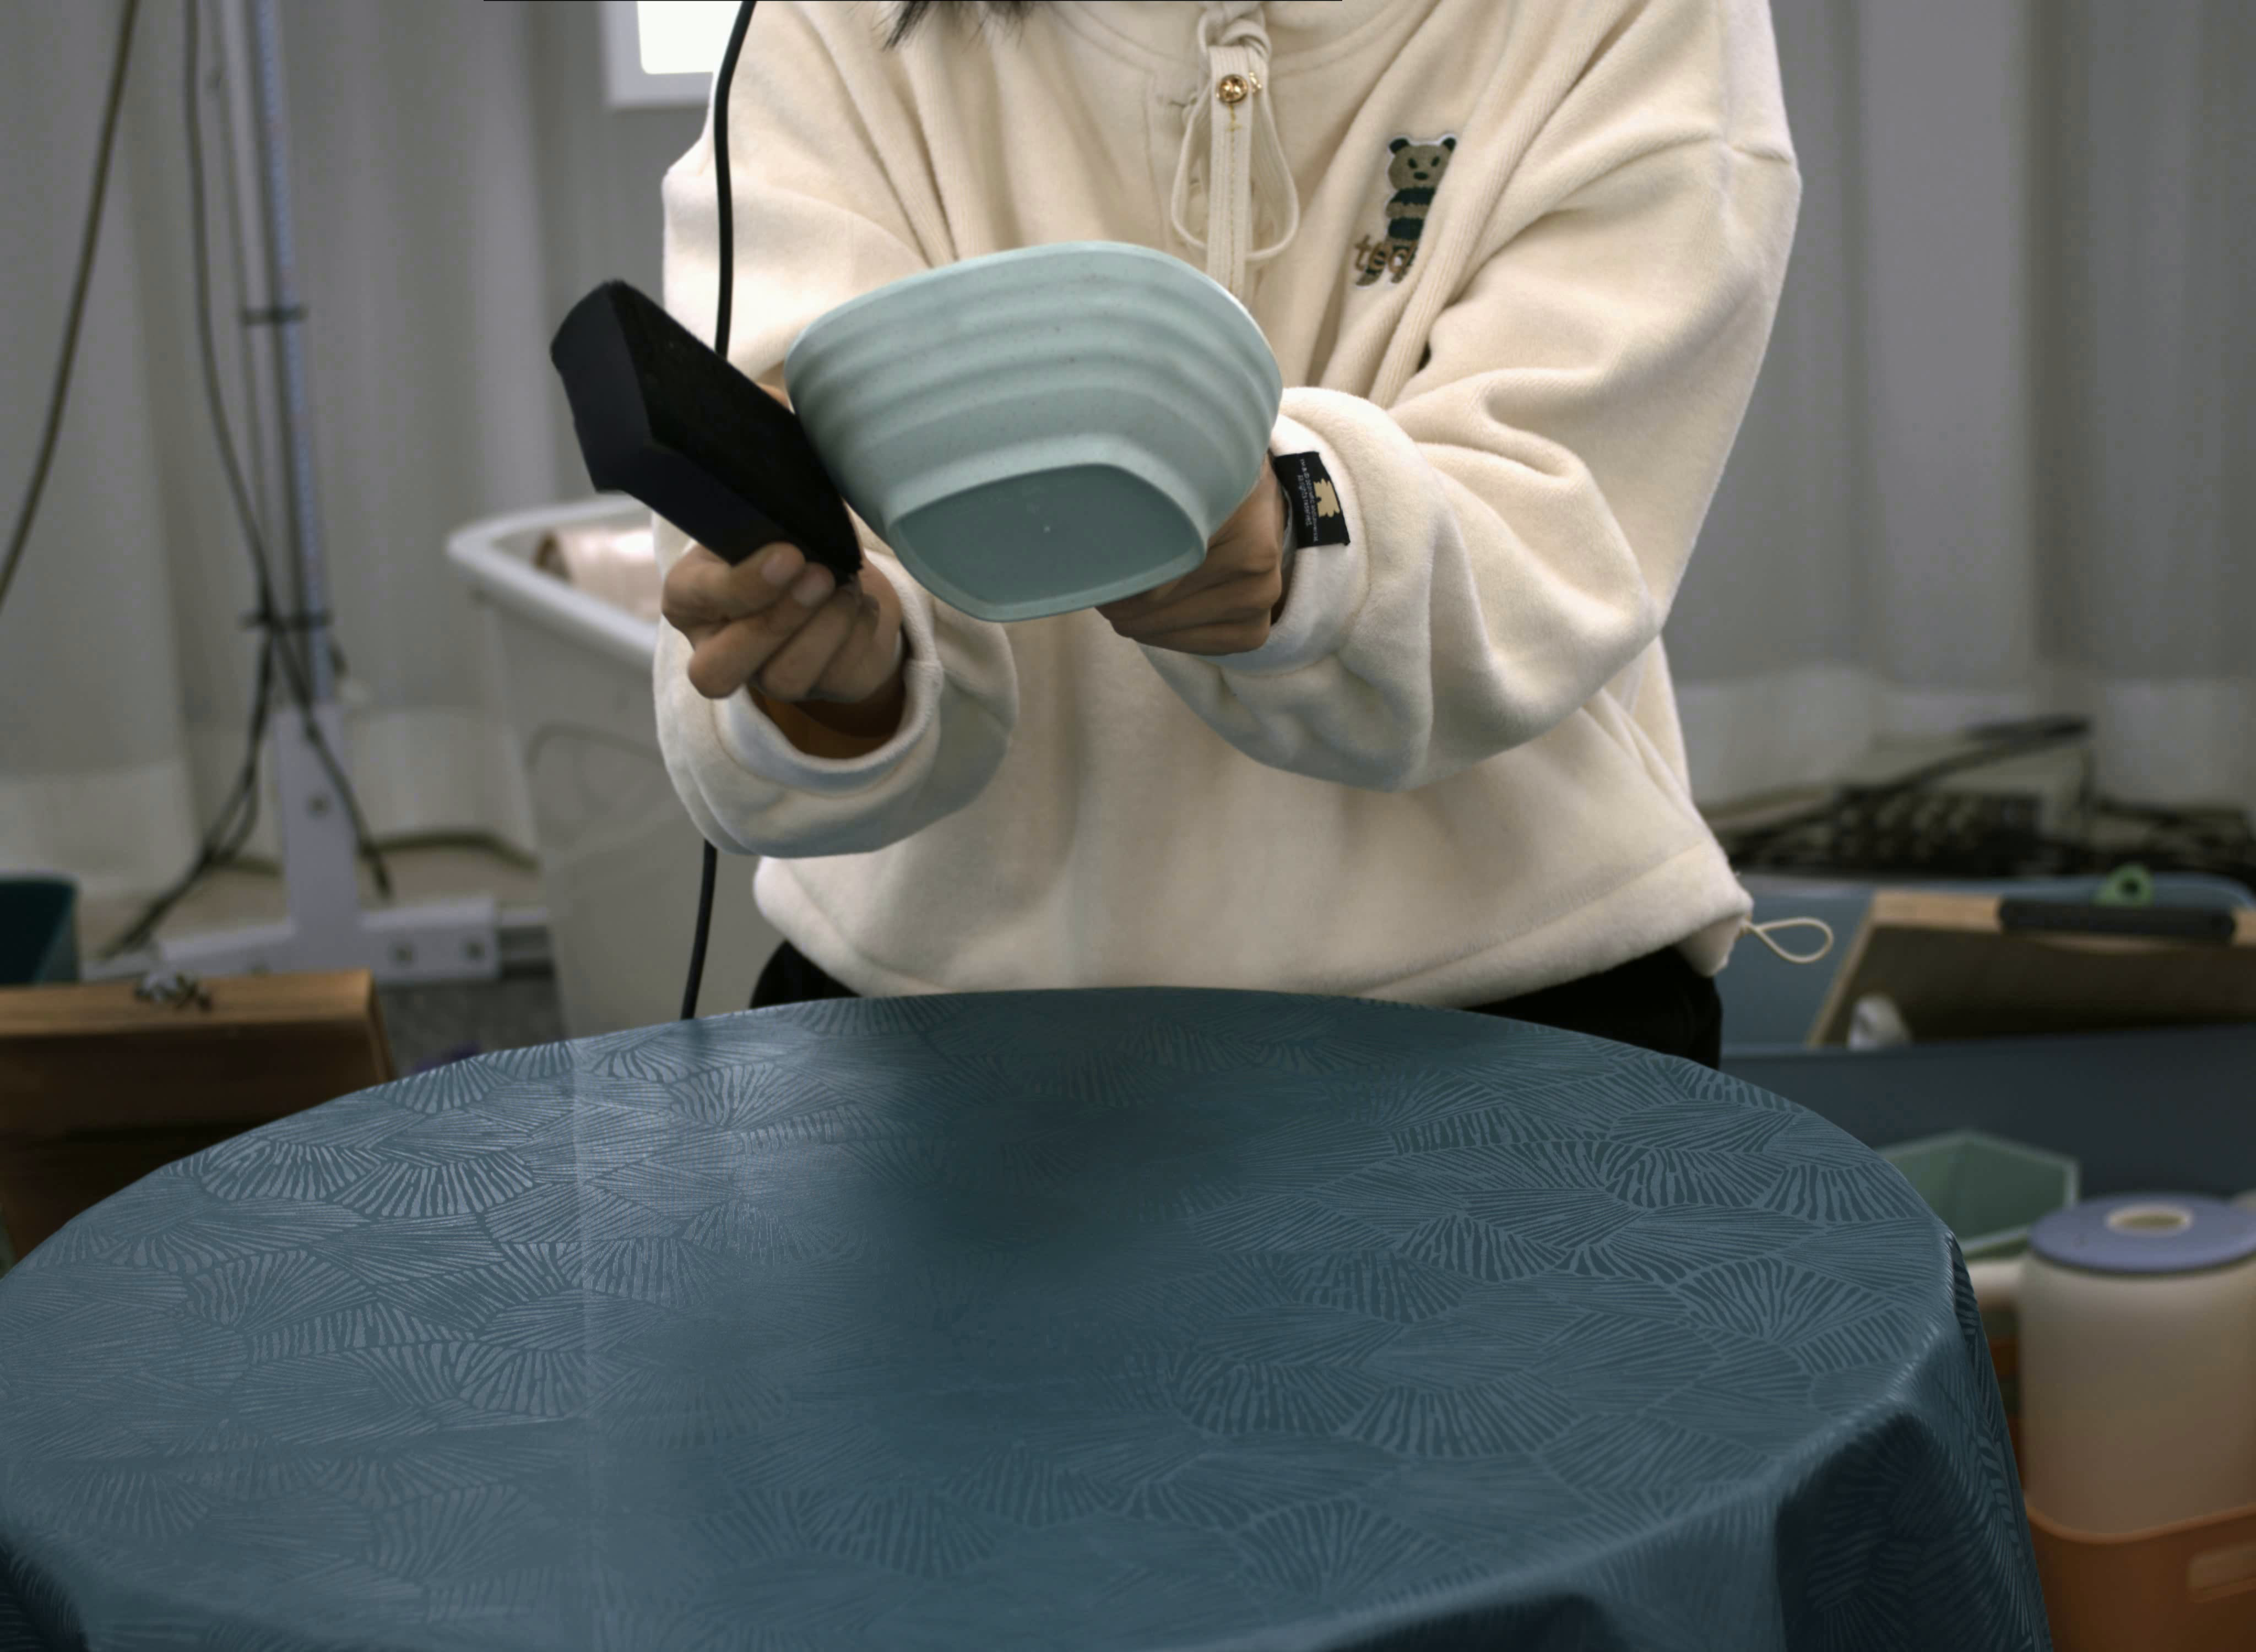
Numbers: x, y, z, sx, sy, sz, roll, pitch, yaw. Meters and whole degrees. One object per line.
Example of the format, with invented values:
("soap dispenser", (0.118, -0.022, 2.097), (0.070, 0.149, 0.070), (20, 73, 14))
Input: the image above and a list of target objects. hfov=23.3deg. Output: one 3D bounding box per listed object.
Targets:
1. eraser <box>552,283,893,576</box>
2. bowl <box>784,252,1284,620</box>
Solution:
("eraser", (-0.115, -0.113, 1.570), (0.030, 0.054, 0.124), (-36, -27, 18))
("bowl", (-0.026, -0.106, 1.592), (0.151, 0.059, 0.150), (-2, -24, -1))
